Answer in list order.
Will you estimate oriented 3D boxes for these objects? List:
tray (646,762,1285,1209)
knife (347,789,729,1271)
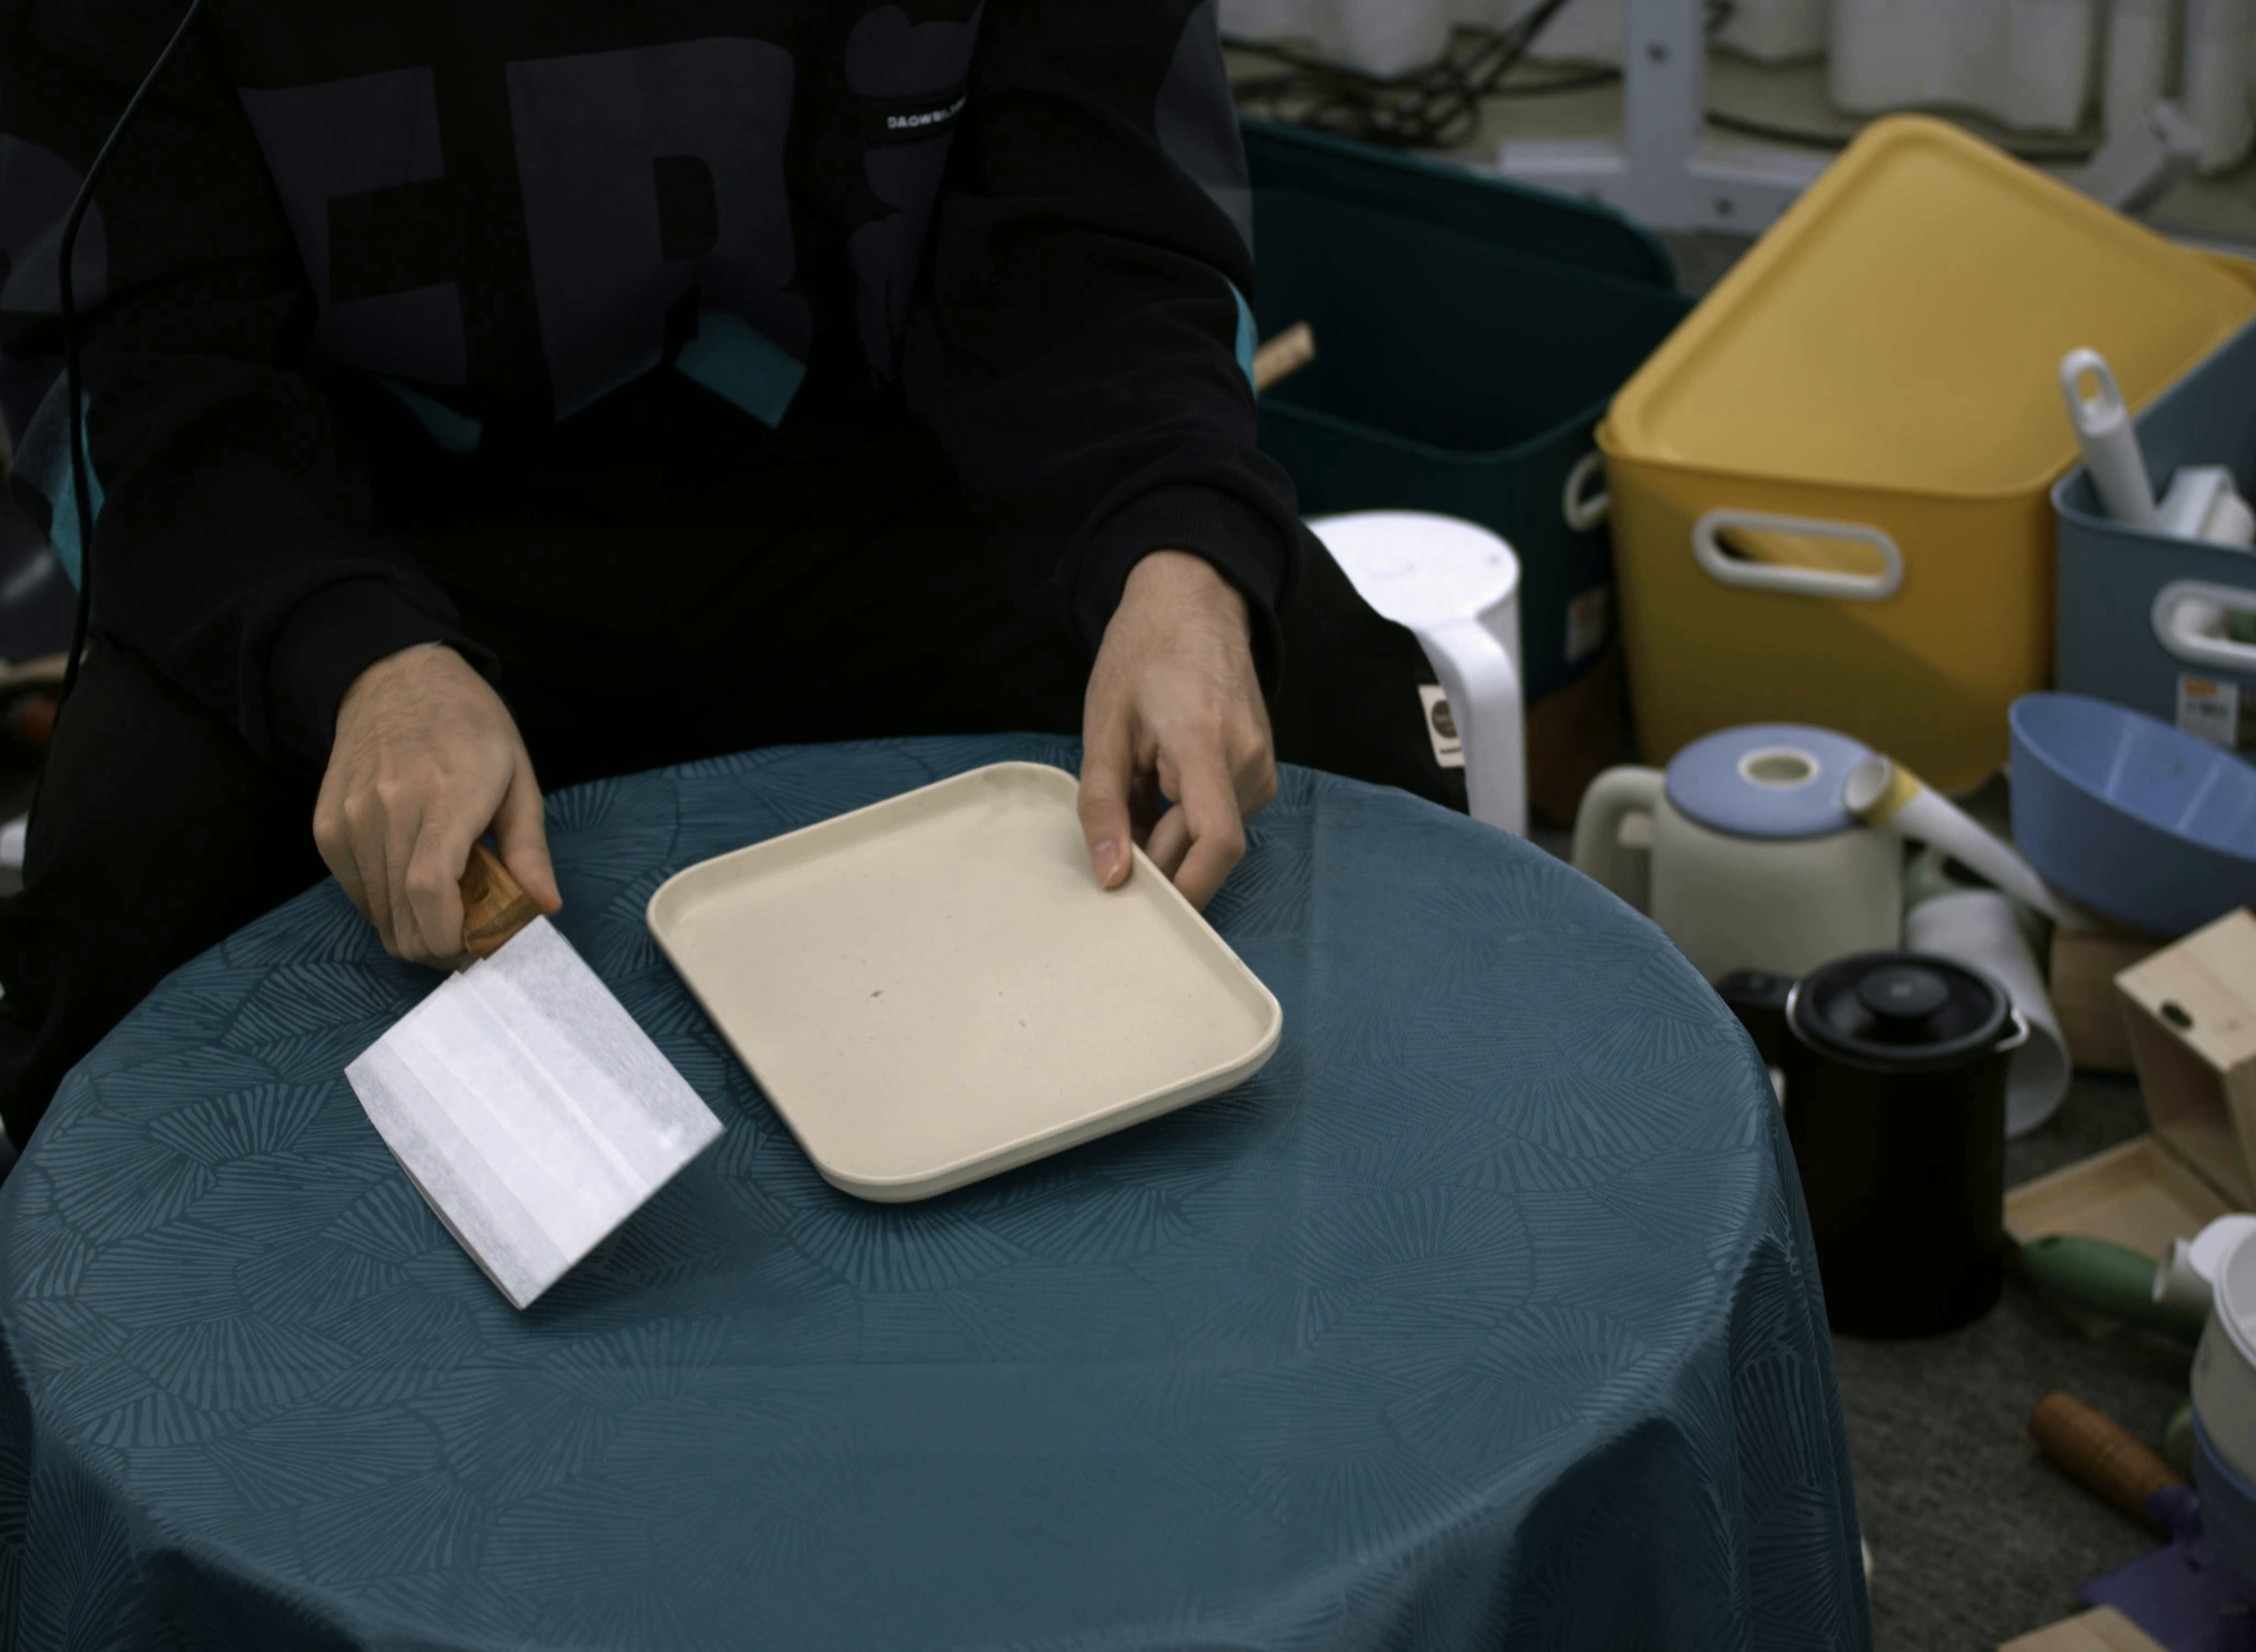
[{"bbox_3d":[-0.059,0.054,1.962,0.172,0.017,0.241,-19,32,-15],"label":"tray"},{"bbox_3d":[-0.223,0.071,1.930,0.093,0.021,0.307,-41,34,-5],"label":"knife"}]
